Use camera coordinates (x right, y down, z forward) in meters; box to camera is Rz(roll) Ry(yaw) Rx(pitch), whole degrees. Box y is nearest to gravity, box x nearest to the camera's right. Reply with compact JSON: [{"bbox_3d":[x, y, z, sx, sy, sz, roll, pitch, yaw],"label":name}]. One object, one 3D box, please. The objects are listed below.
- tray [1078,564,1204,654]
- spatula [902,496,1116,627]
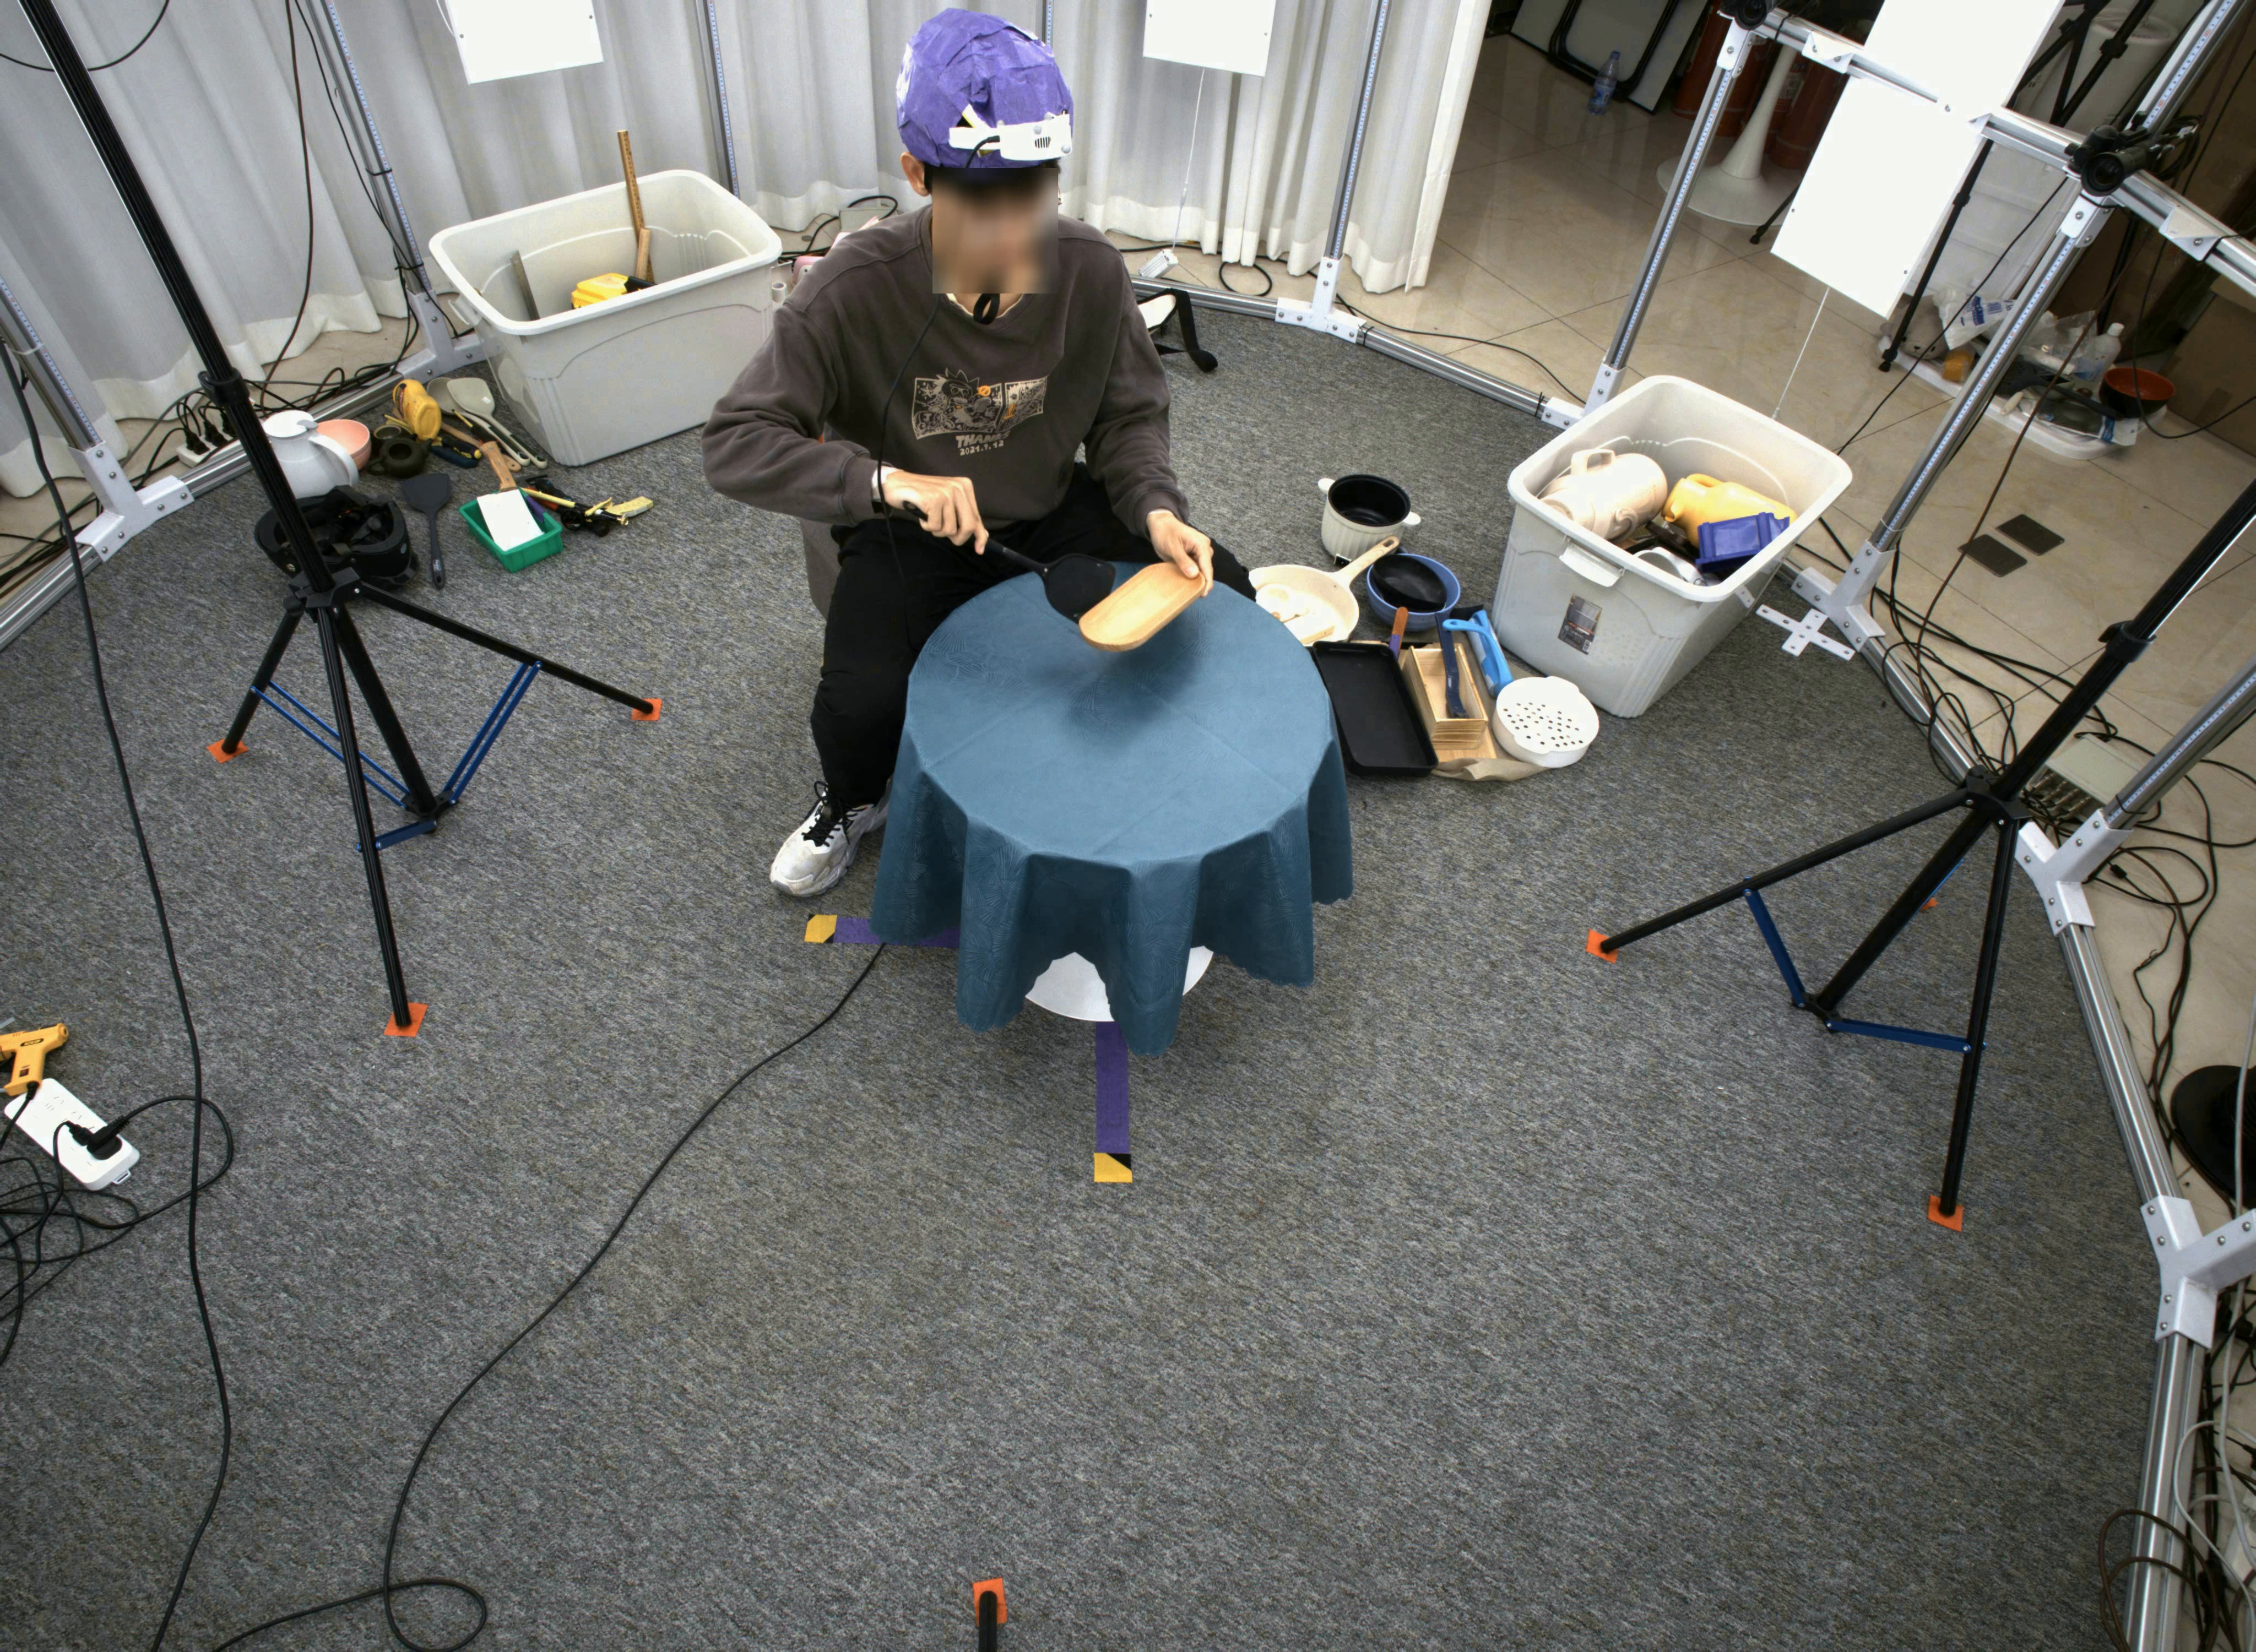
[{"bbox_3d":[0.020,-0.307,1.807,0.103,0.020,0.234,24,49,28],"label":"tray"},{"bbox_3d":[-0.159,-0.369,1.740,0.322,0.099,0.041,20,3,-37],"label":"spatula"}]
